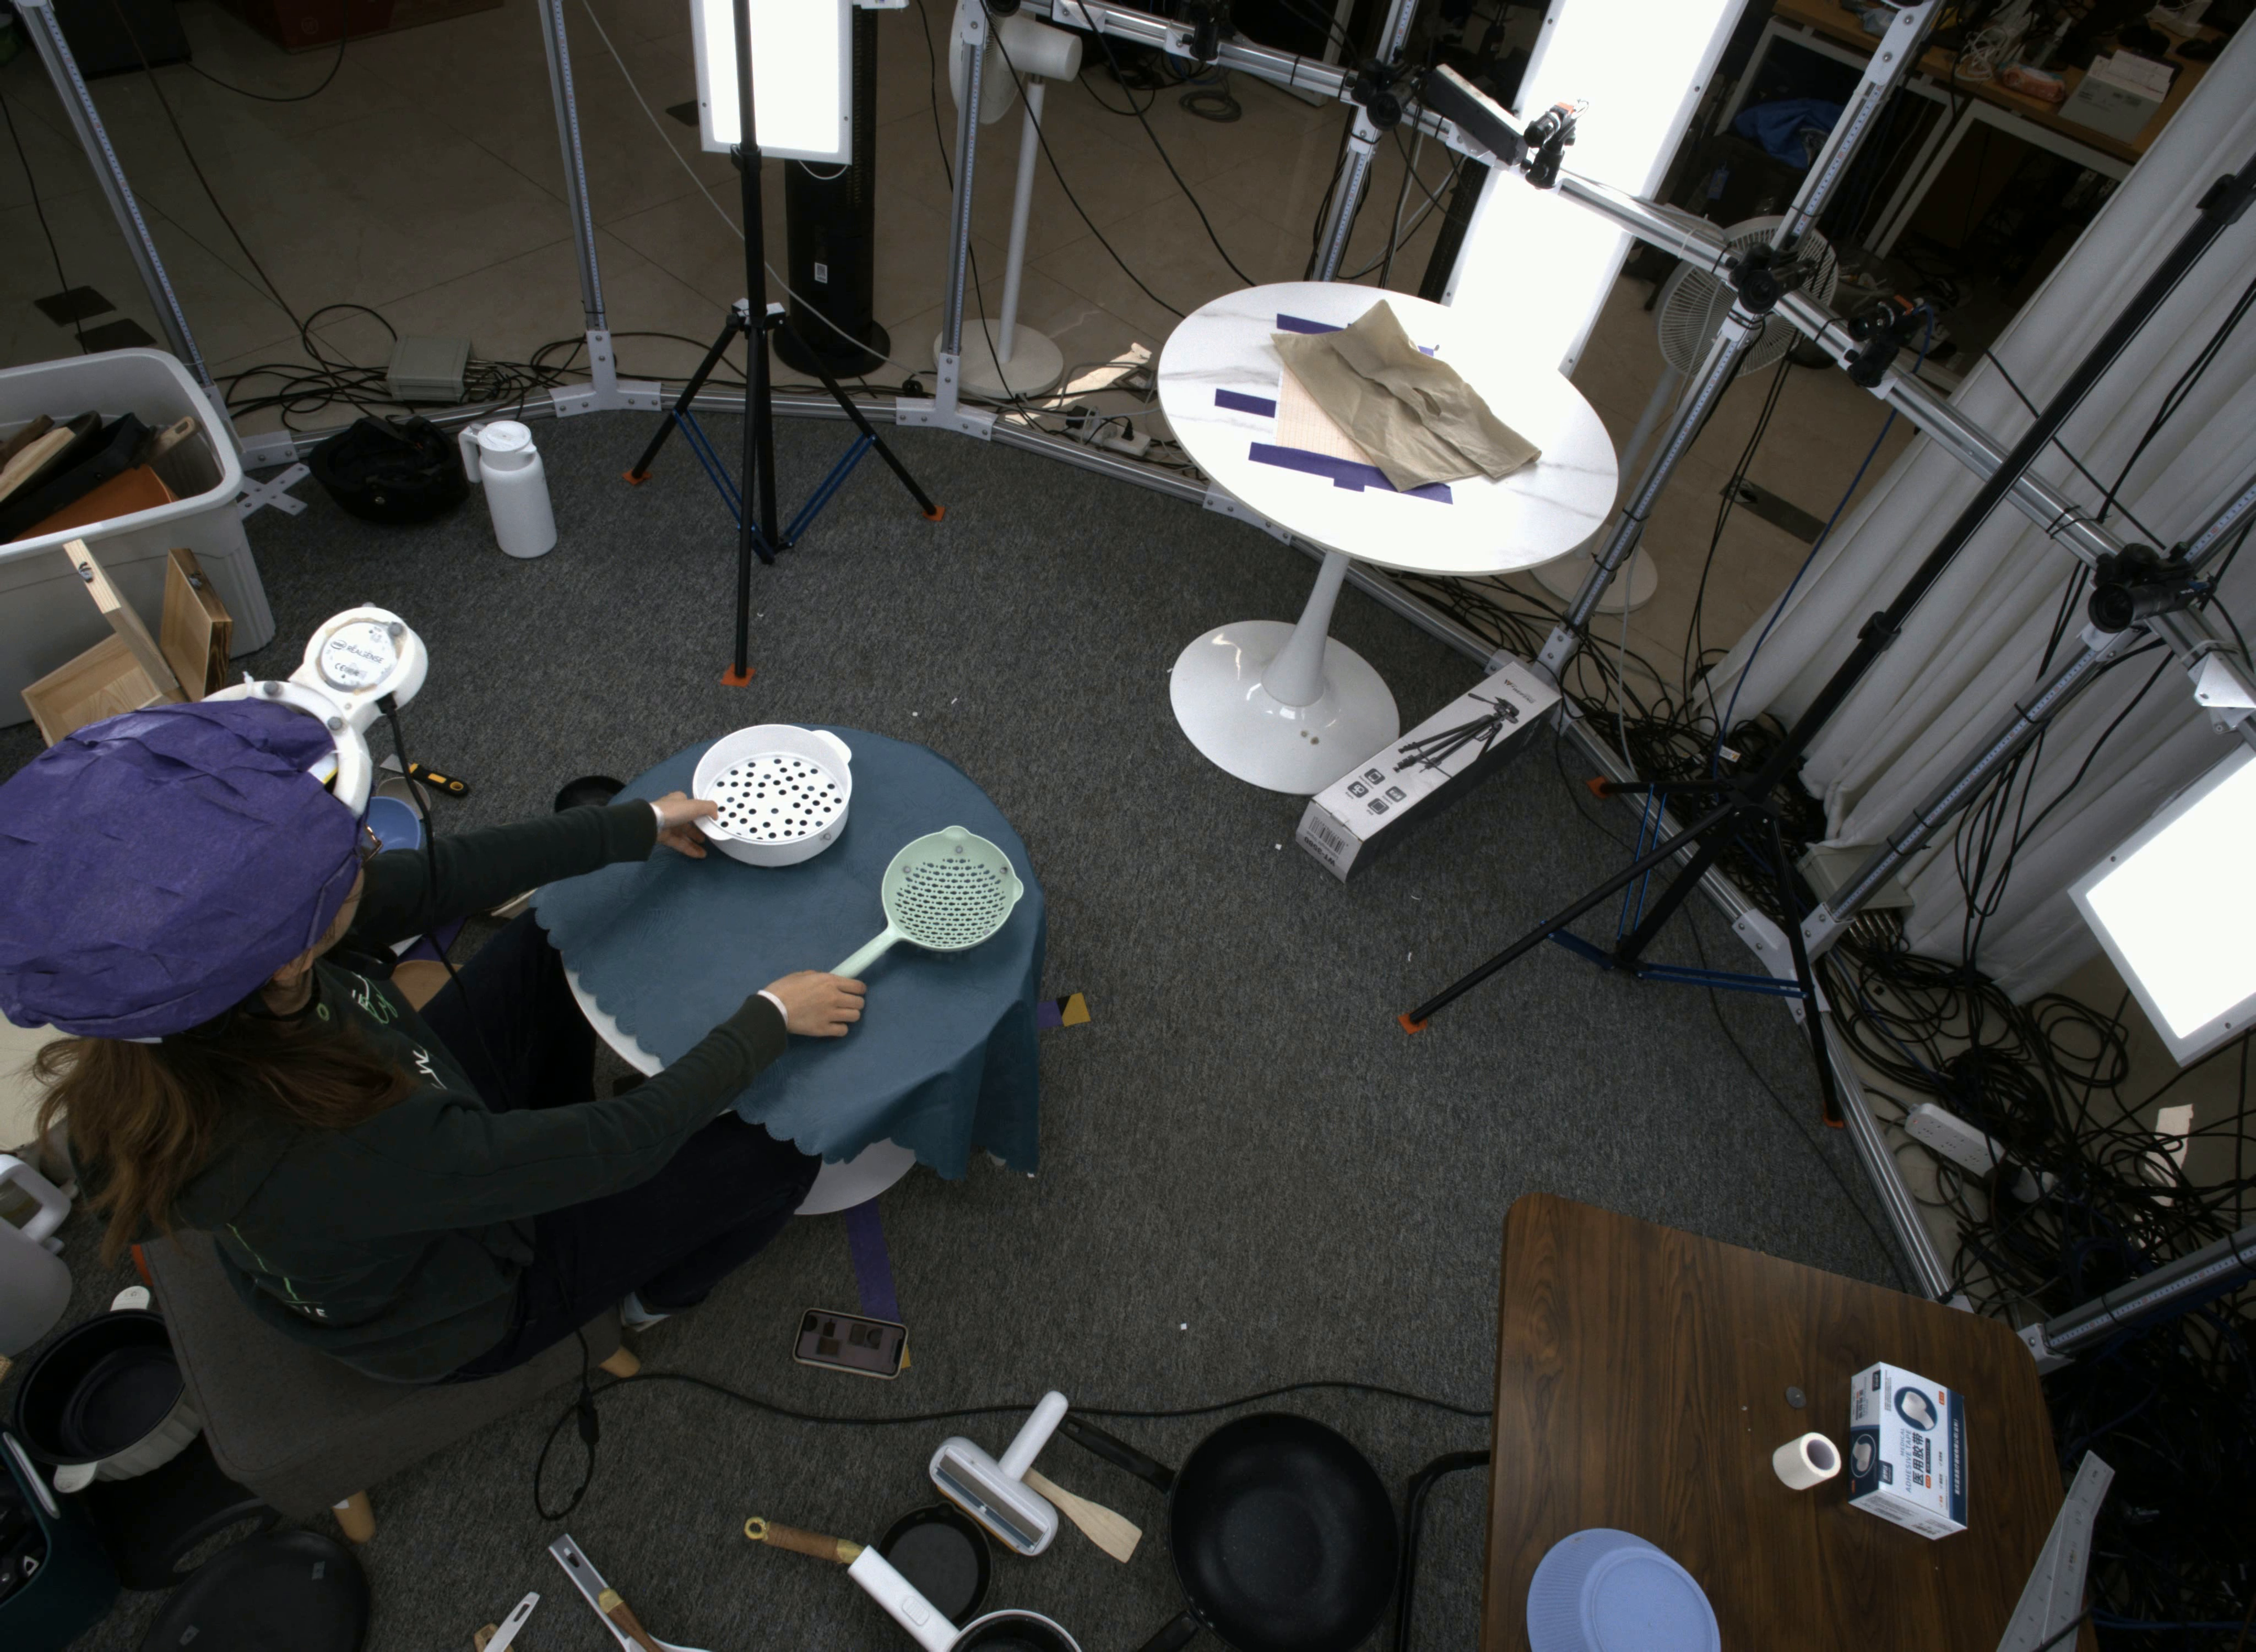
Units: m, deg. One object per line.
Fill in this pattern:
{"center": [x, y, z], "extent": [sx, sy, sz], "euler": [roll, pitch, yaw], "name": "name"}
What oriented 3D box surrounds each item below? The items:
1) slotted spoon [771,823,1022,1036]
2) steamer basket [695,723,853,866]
{"center": [-0.296, 0.137, 1.618], "extent": [0.165, 0.077, 0.360], "euler": [42, 55, 19], "name": "slotted spoon"}
{"center": [-0.464, -0.041, 1.709], "extent": [0.197, 0.071, 0.231], "euler": [38, 55, 16], "name": "steamer basket"}
